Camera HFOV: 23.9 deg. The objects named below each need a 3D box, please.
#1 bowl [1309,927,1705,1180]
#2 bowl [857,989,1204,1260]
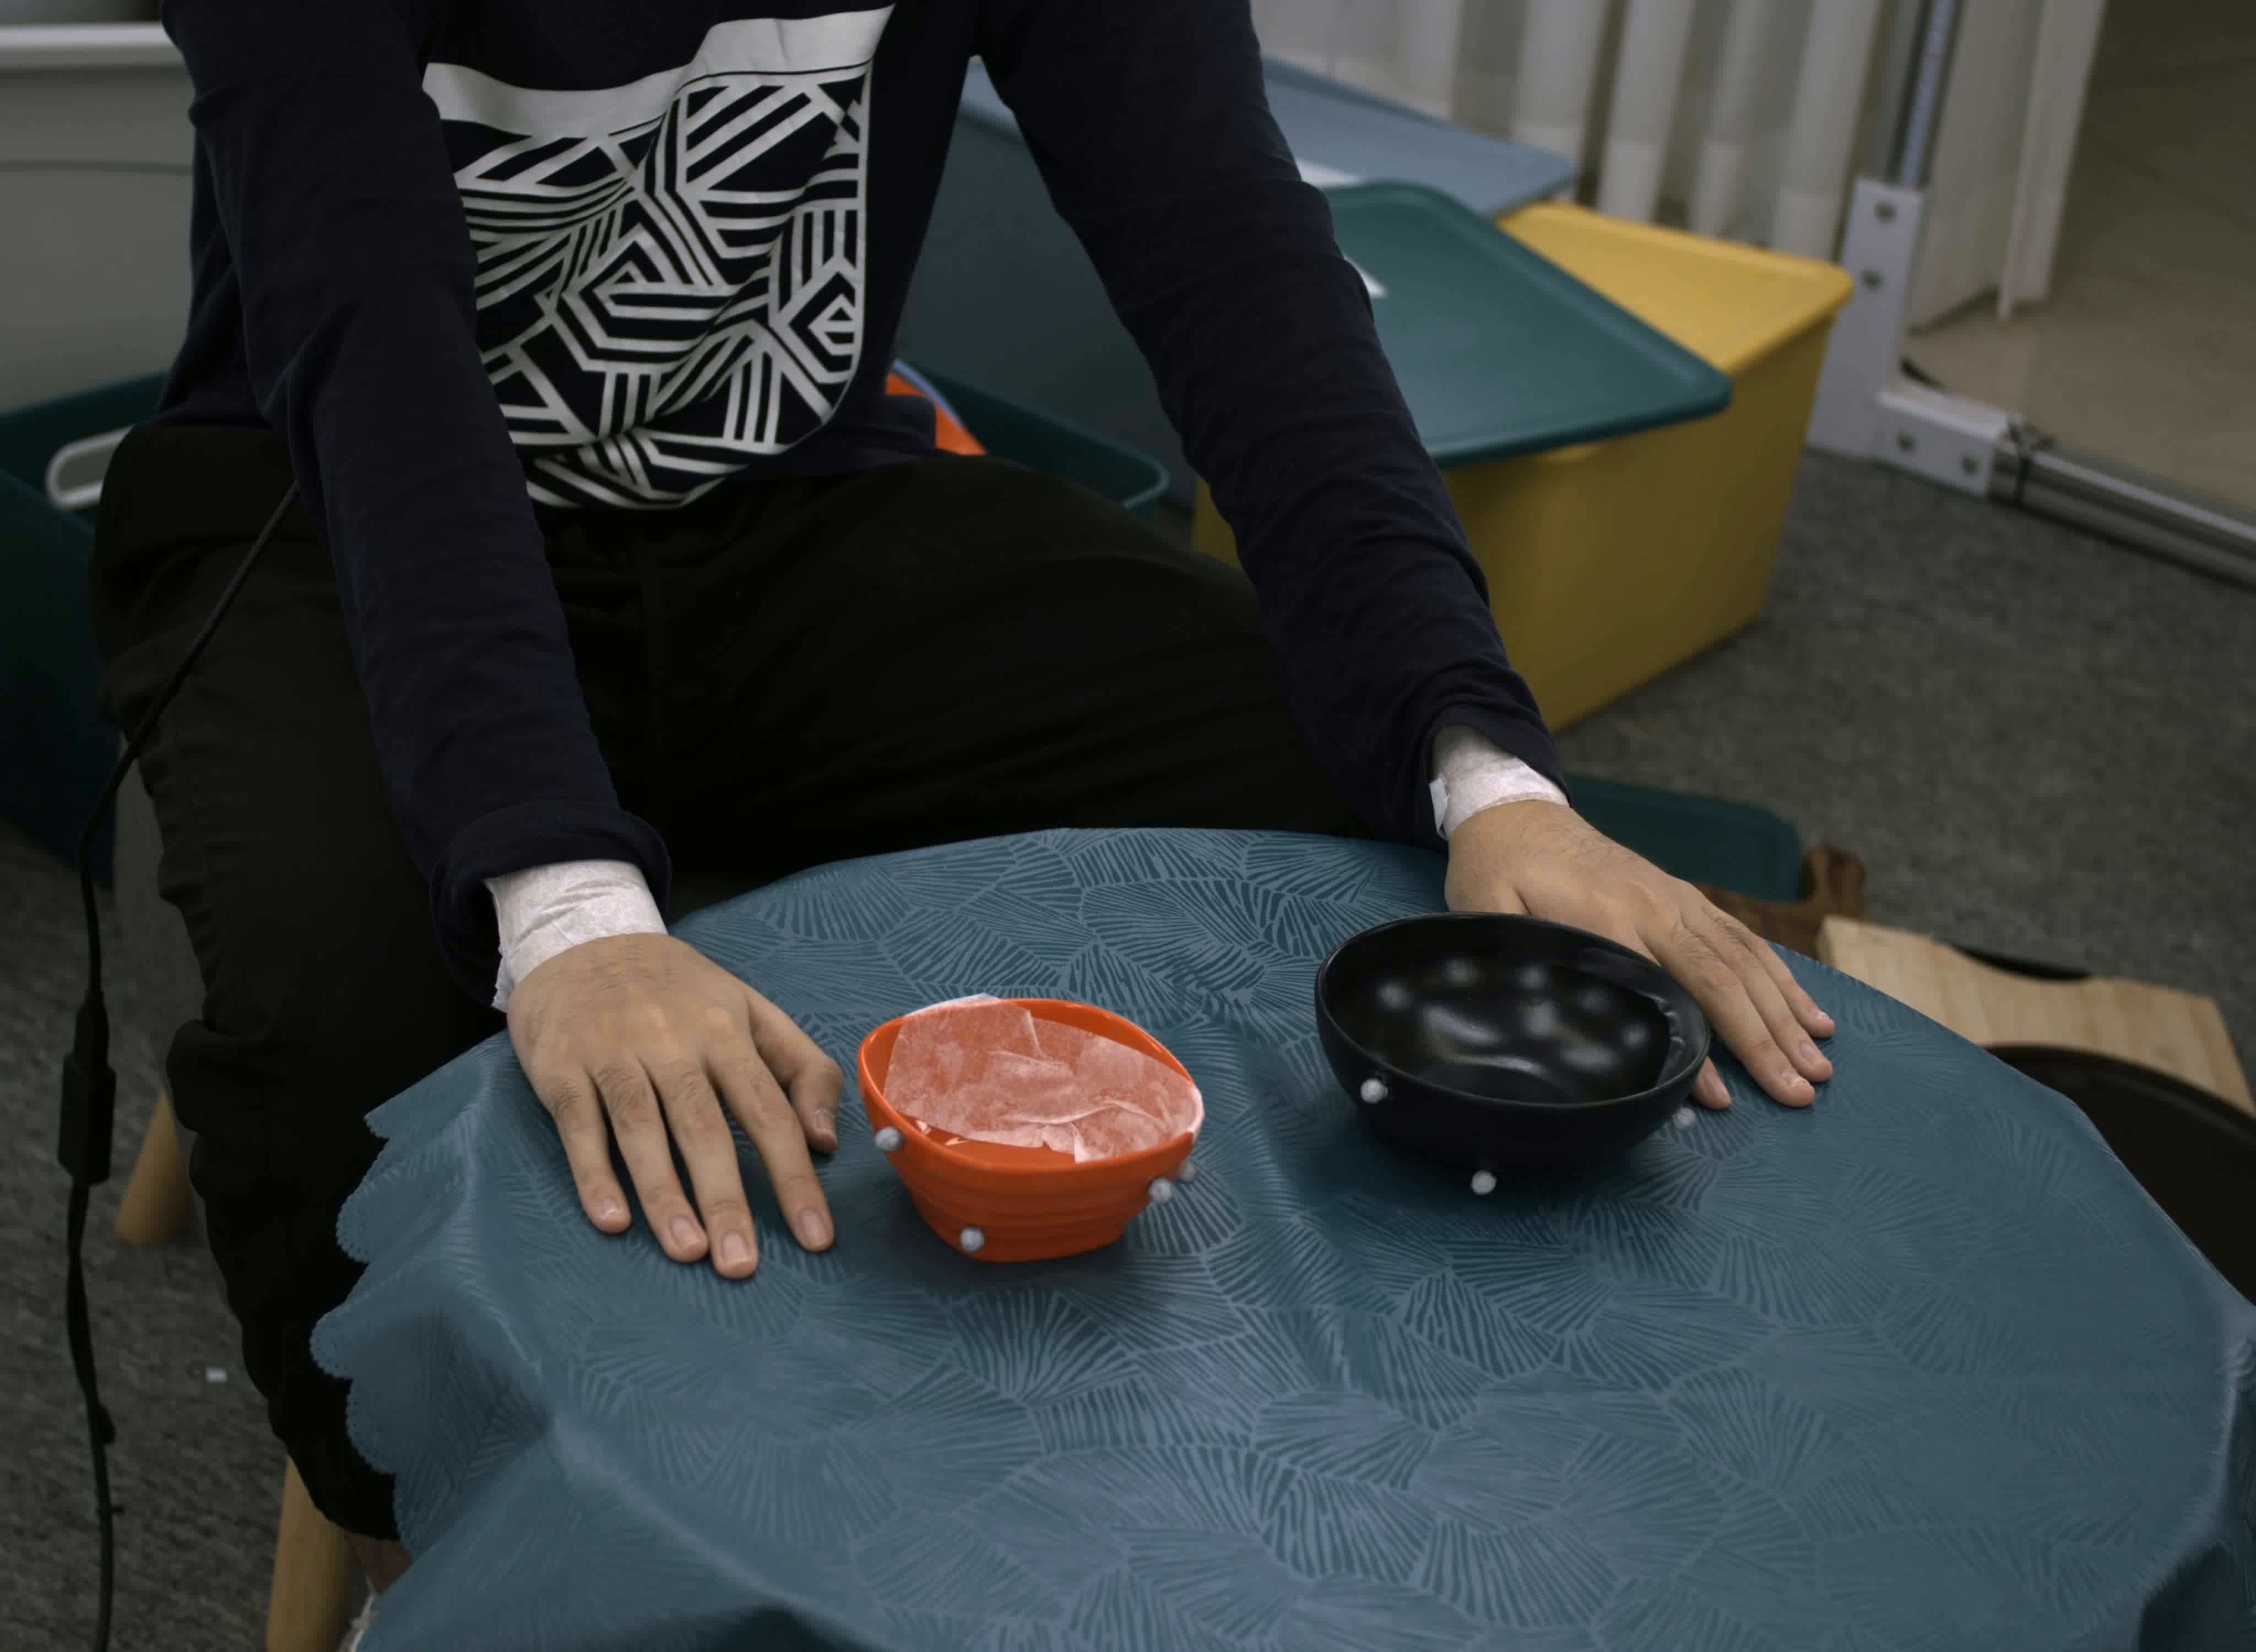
[{"bbox_3d":[0.130,0.086,1.861,0.139,0.049,0.141,4,23,-2],"label":"bowl"},{"bbox_3d":[-0.035,0.104,1.777,0.118,0.051,0.119,5,29,-3],"label":"bowl"}]
